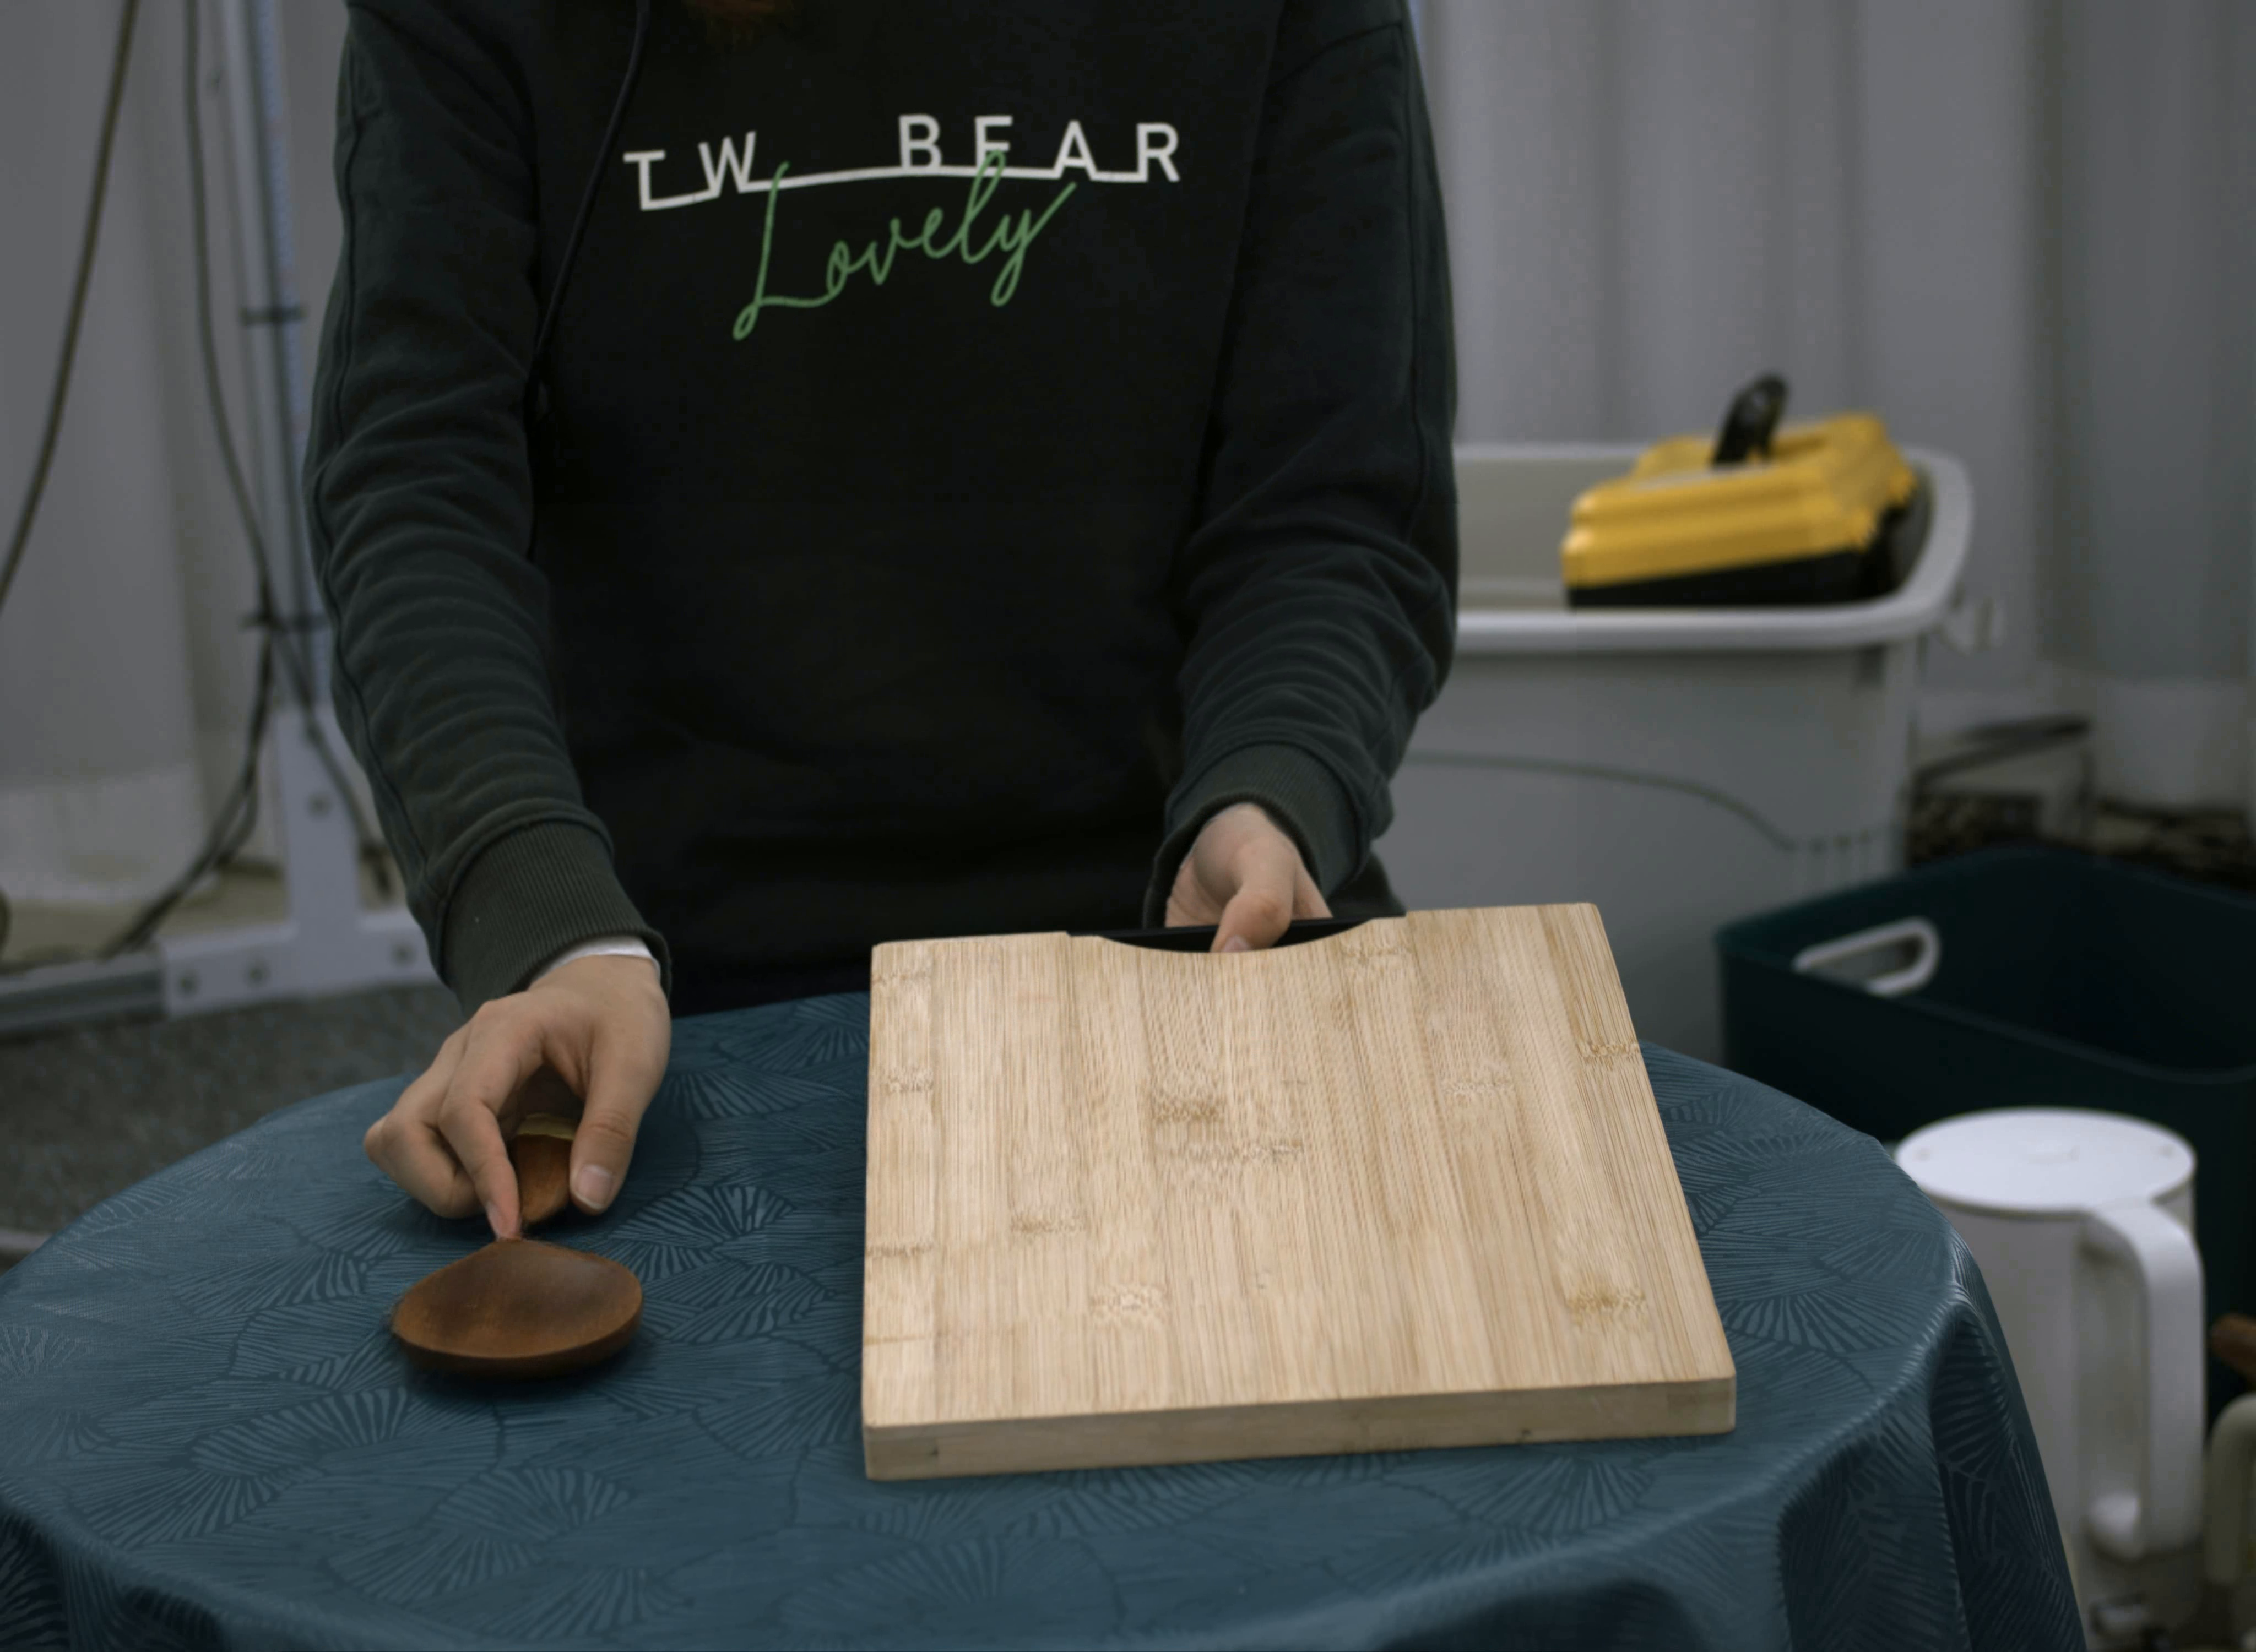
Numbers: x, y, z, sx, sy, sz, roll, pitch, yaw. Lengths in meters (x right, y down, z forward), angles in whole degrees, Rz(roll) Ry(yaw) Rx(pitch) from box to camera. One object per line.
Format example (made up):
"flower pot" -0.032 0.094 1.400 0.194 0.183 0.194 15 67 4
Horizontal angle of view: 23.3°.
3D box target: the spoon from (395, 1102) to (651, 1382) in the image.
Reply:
"spoon" -0.179 0.127 1.660 0.075 0.017 0.217 -5 17 -1

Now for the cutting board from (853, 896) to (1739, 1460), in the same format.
"cutting board" 0.042 0.100 1.650 0.250 0.023 0.352 -3 22 -2
